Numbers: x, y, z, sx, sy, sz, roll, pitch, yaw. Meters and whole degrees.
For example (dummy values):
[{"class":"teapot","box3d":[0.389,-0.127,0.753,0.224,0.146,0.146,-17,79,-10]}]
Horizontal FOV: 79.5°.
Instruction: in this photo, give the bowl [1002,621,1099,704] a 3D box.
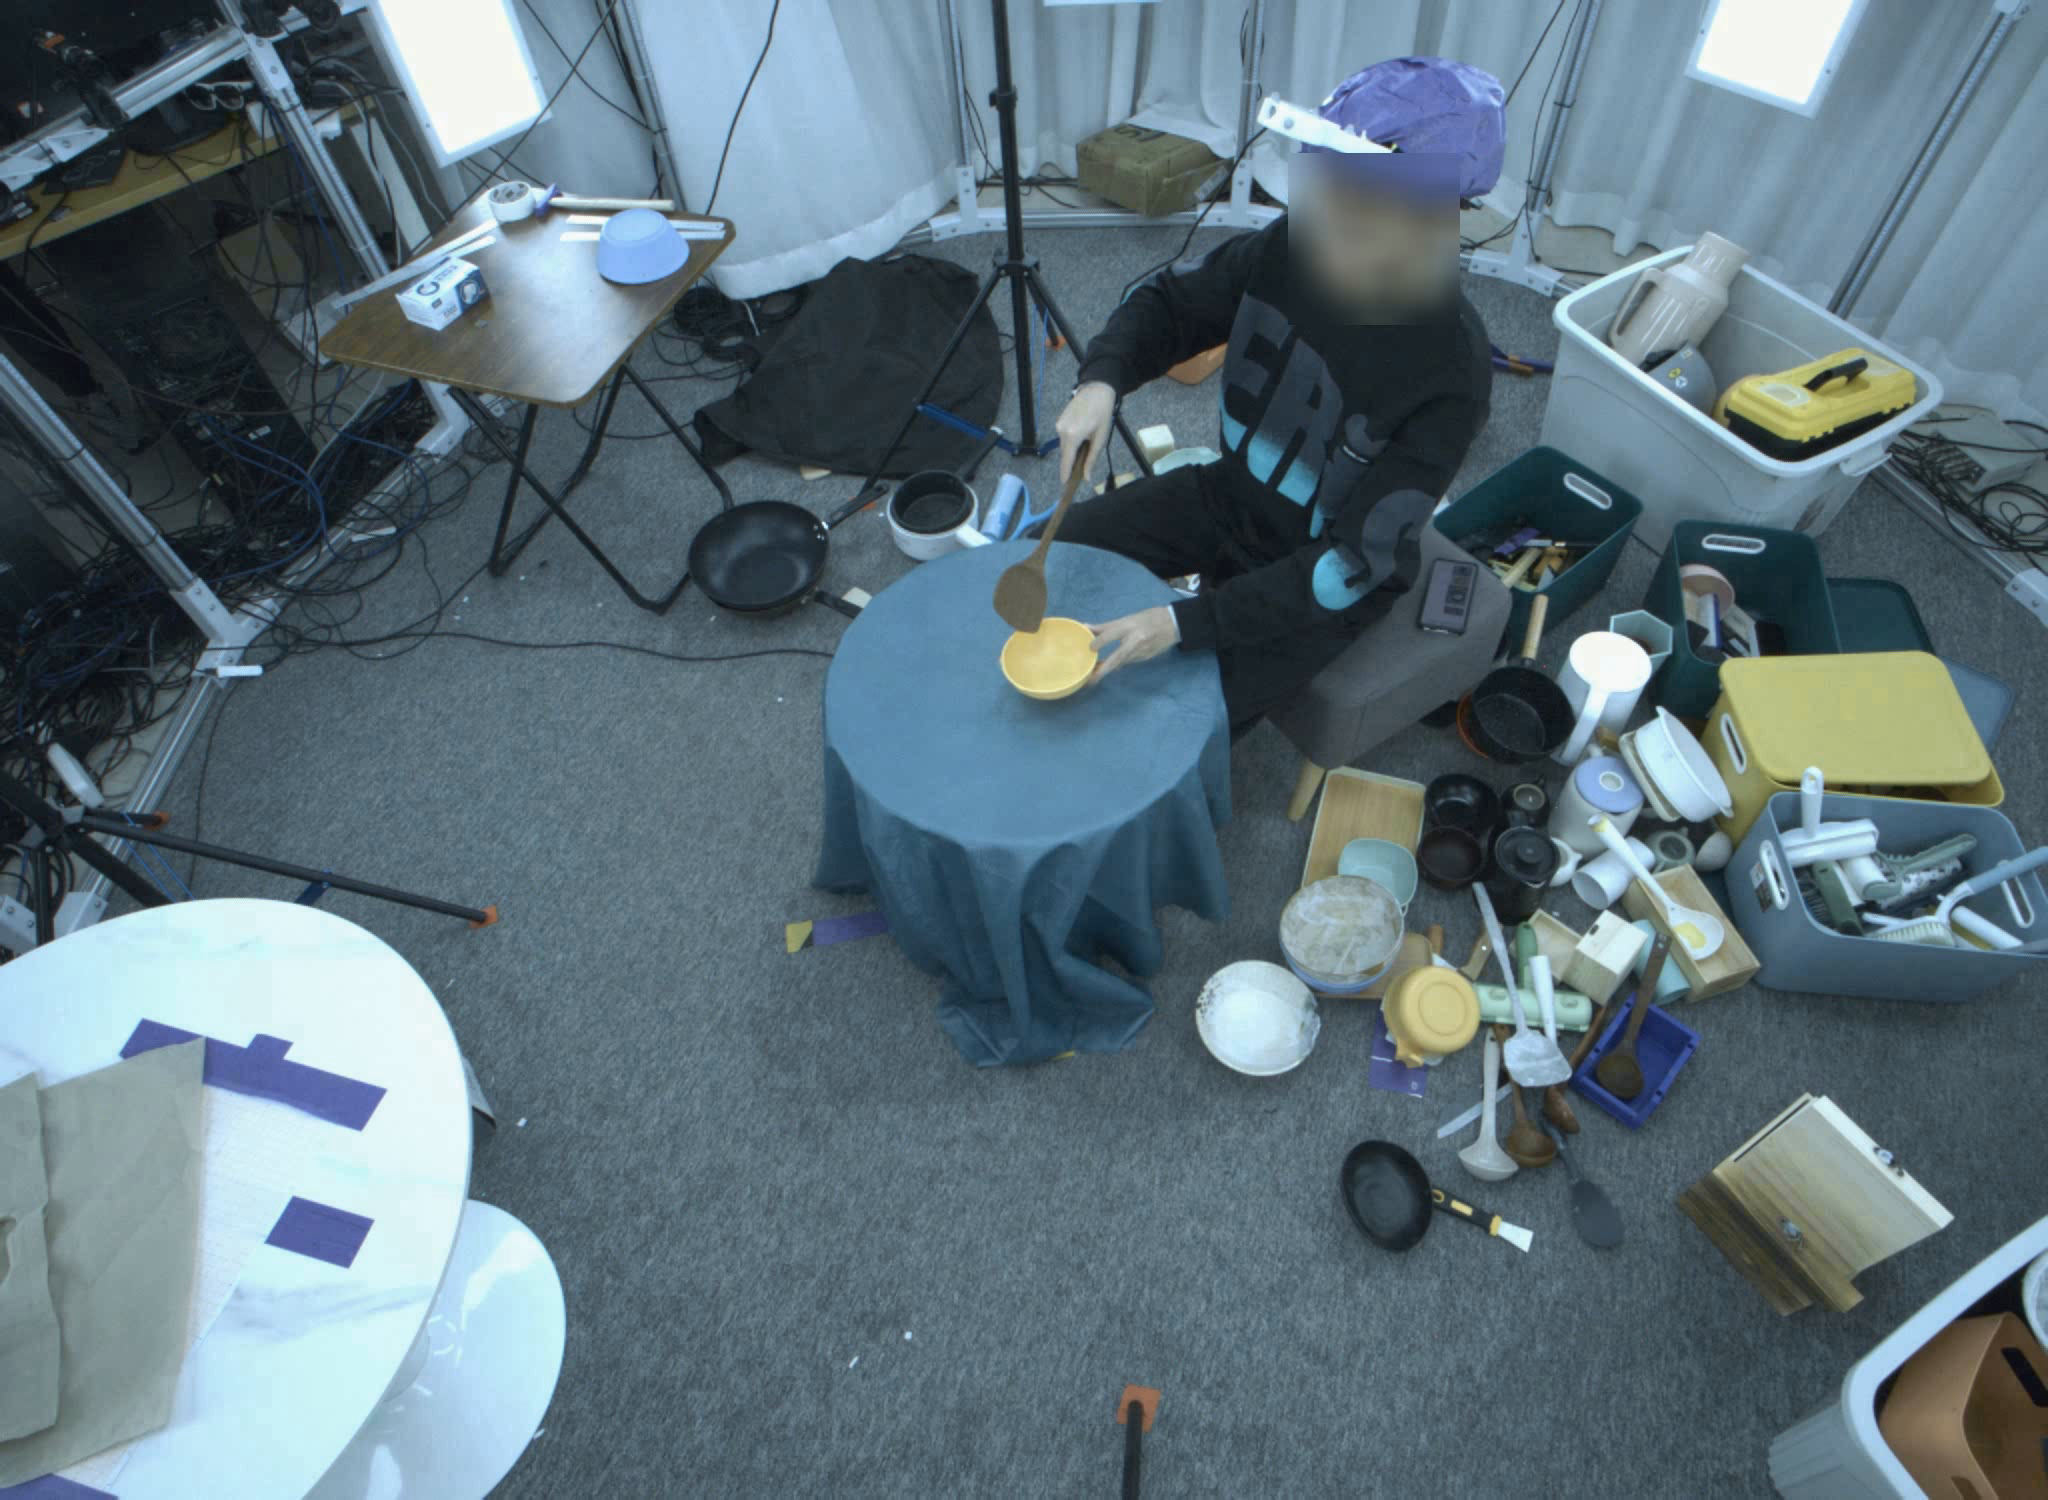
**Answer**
[{"class":"bowl","box3d":[0.043,-0.119,1.833,0.145,0.061,0.144,-3,55,5]}]

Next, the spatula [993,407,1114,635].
[{"class":"spatula","box3d":[0.054,-0.350,1.802,0.015,0.098,0.385,10,72,52]}]
